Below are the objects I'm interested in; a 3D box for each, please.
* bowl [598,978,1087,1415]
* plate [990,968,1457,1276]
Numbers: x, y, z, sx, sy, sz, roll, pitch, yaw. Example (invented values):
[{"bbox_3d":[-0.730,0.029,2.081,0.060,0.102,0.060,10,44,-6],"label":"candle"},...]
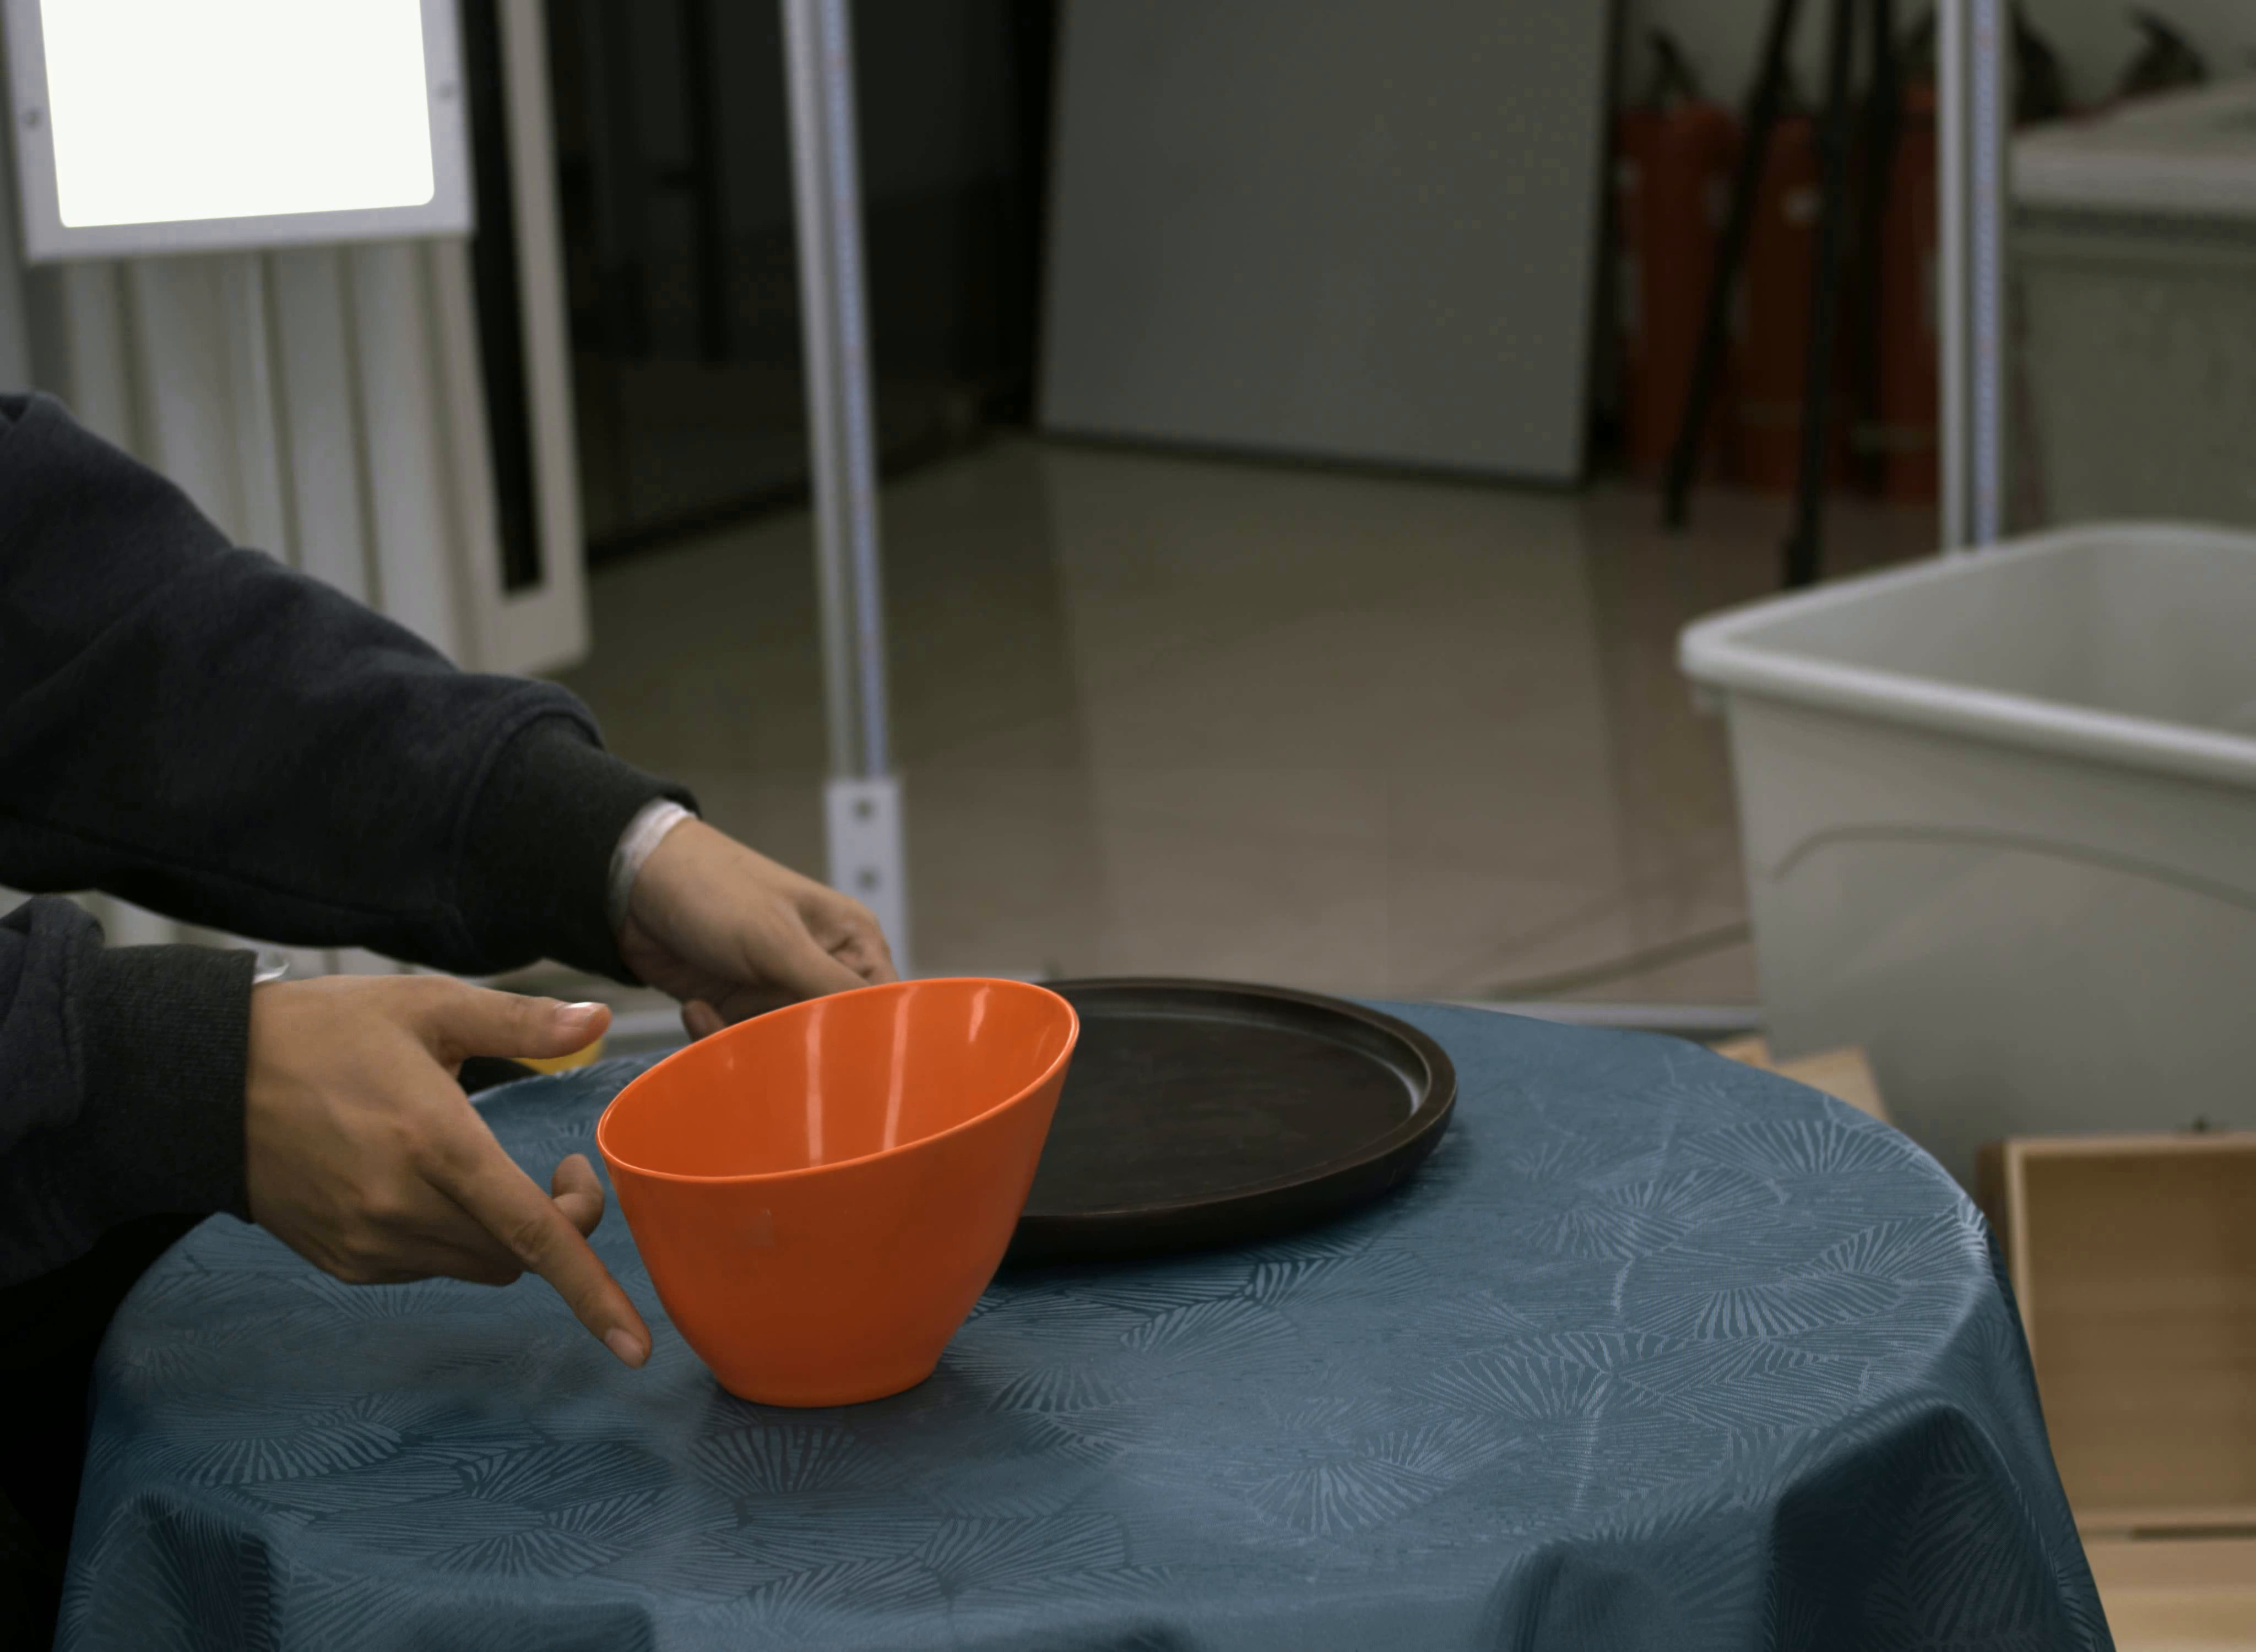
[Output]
[{"bbox_3d":[-0.082,0.113,1.610,0.146,0.106,0.148,-3,15,0],"label":"bowl"},{"bbox_3d":[-0.015,0.100,1.805,0.251,0.029,0.255,-4,16,0],"label":"plate"}]
